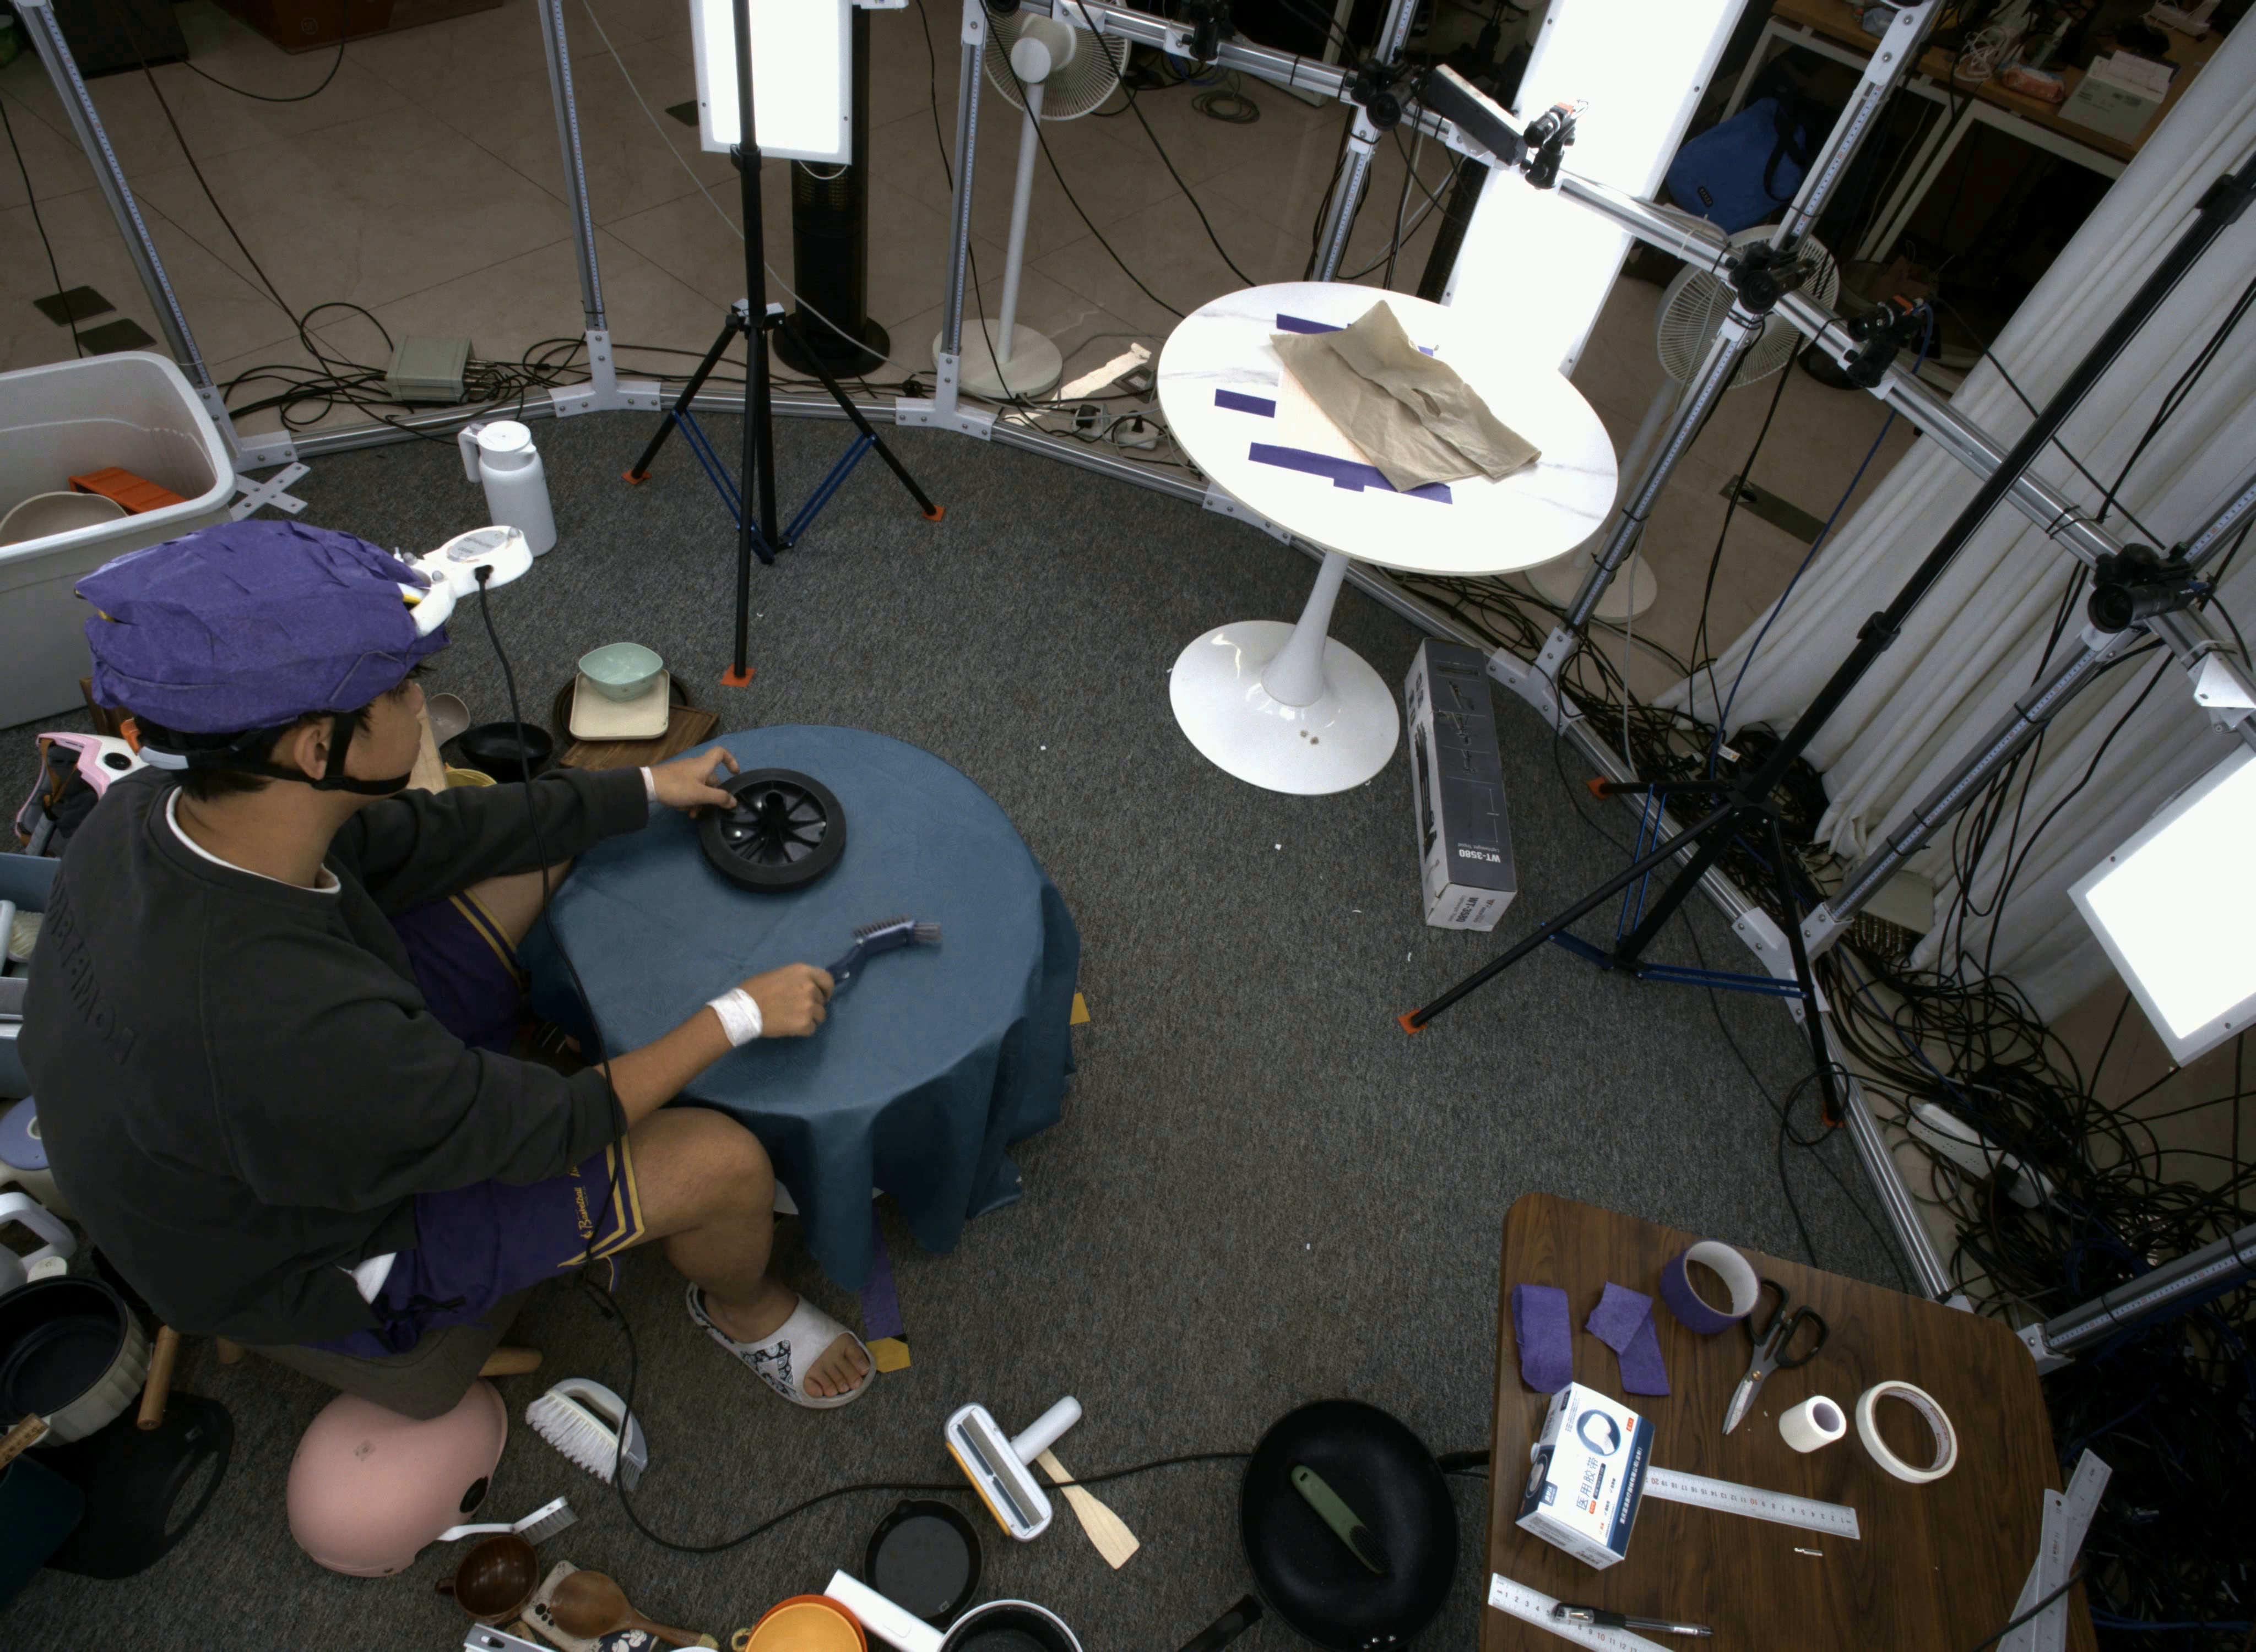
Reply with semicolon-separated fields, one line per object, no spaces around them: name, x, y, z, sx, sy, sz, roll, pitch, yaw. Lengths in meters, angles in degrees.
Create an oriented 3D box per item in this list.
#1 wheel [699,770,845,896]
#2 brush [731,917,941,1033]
wheel;-0.460;-0.007;1.676;0.187;0.080;0.187;12;54;-10
brush;-0.352;0.177;1.573;0.092;0.034;0.274;26;41;28
